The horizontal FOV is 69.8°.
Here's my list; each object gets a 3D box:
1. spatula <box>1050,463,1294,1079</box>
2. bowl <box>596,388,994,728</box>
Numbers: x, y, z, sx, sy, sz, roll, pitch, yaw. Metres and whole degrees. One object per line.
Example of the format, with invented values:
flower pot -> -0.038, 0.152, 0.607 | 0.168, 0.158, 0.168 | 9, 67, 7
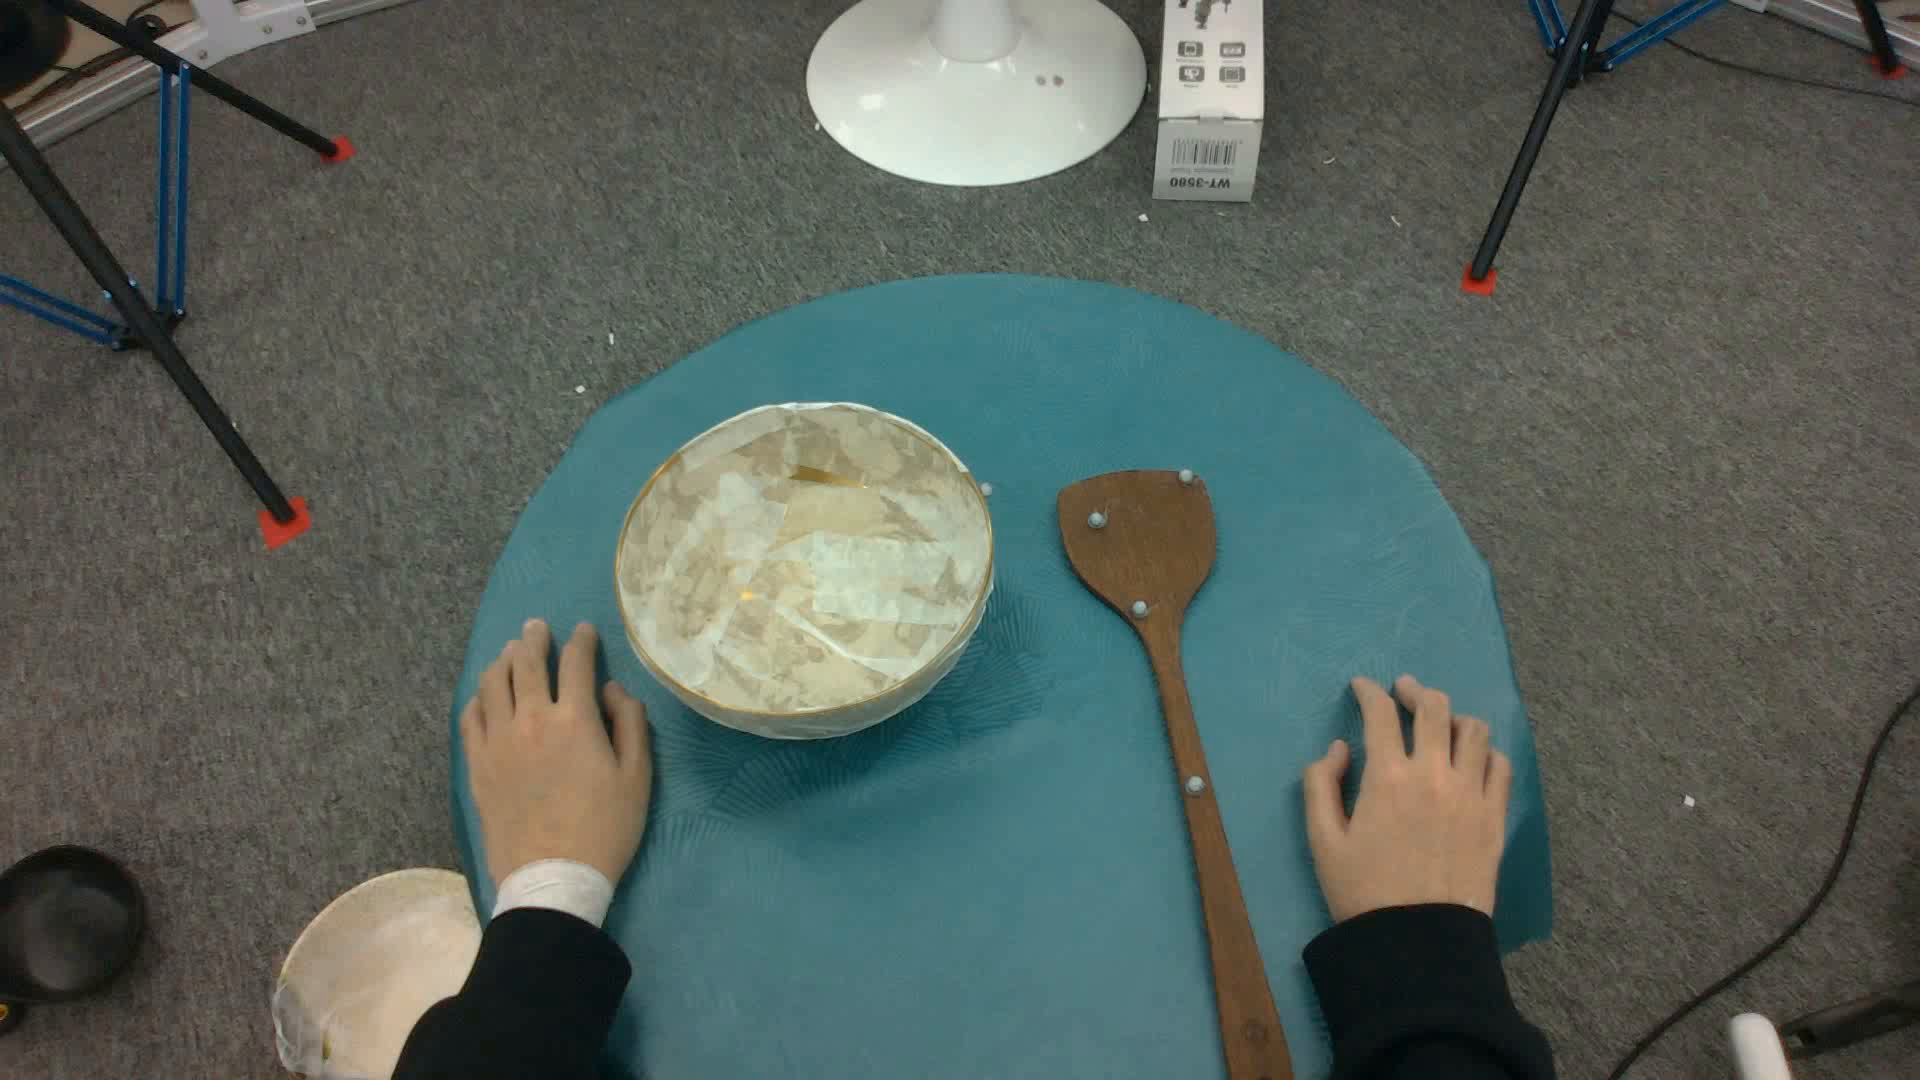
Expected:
spatula -> 0.121, 0.112, 0.740 | 0.096, 0.016, 0.387 | -6, 55, -3
bowl -> -0.088, 0.024, 0.756 | 0.215, 0.094, 0.215 | 1, 55, -1
